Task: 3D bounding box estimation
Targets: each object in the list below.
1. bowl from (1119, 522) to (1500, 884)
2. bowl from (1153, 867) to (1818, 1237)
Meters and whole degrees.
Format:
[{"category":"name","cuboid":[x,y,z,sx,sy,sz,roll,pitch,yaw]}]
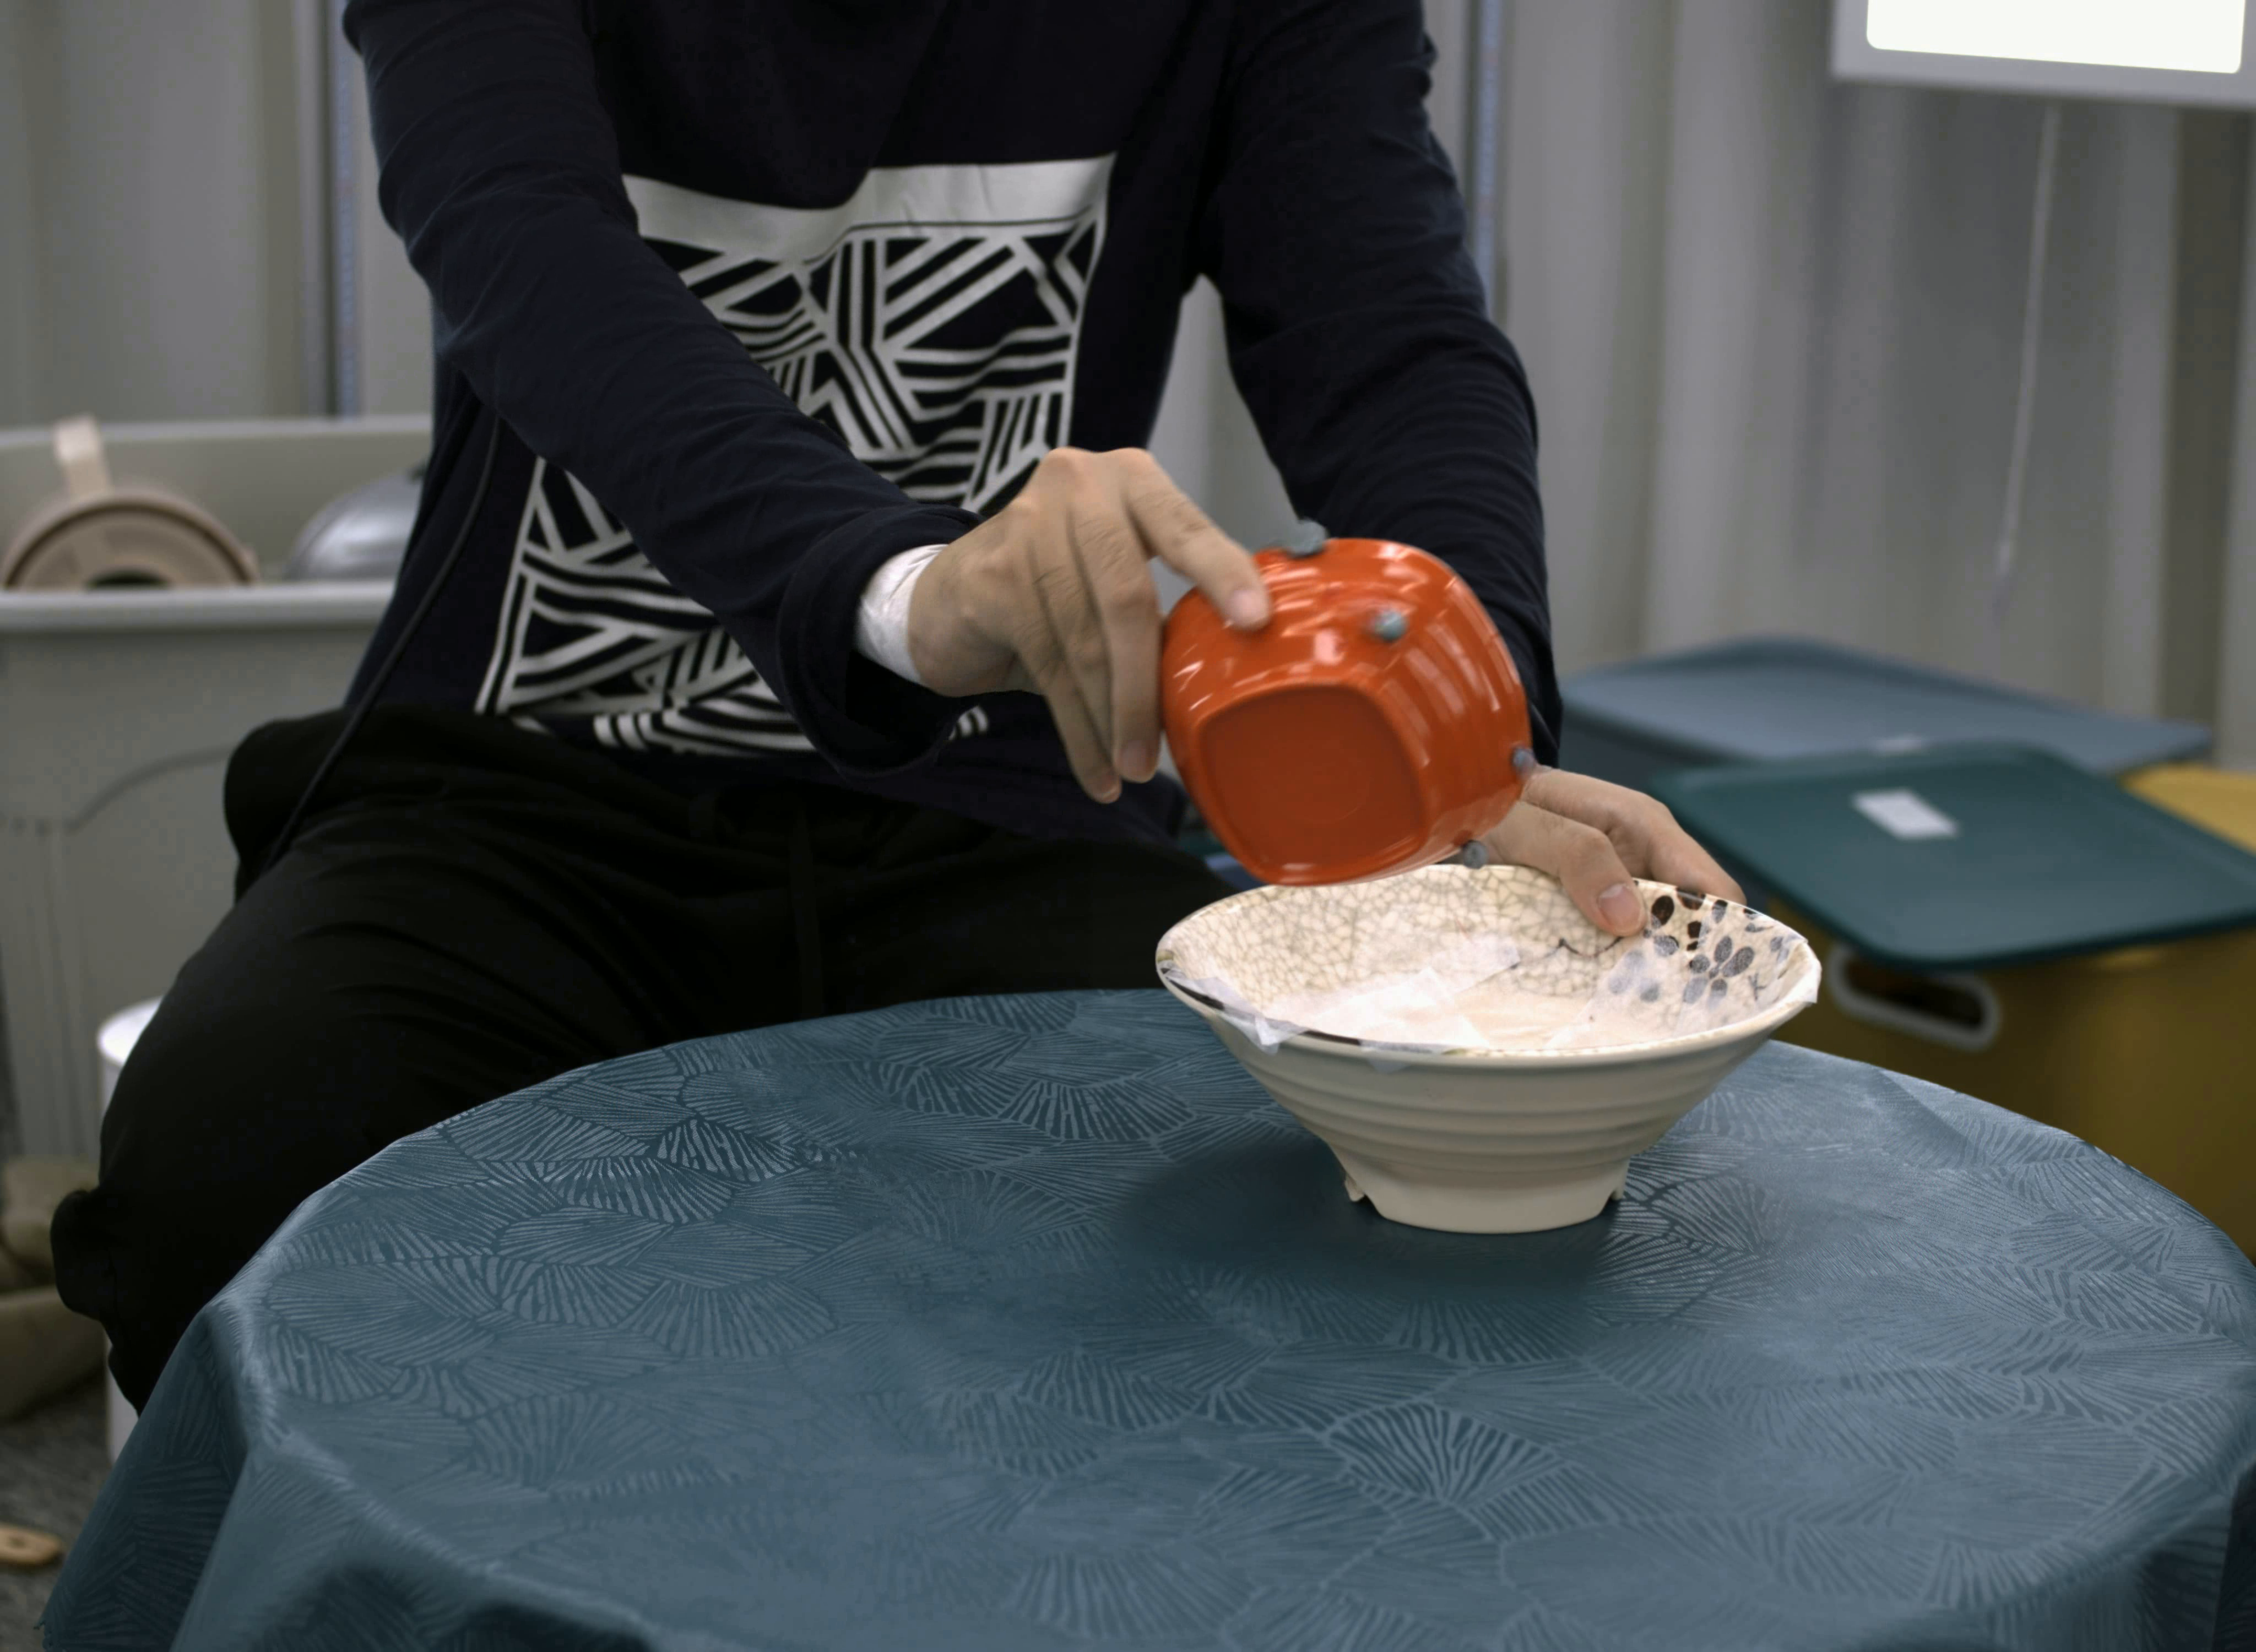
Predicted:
[{"category":"bowl","cuboid":[0.048,-0.027,1.538,0.118,0.120,0.051,5,29,14]},{"category":"bowl","cuboid":[0.108,0.076,1.619,0.203,0.078,0.203,1,15,0]}]
